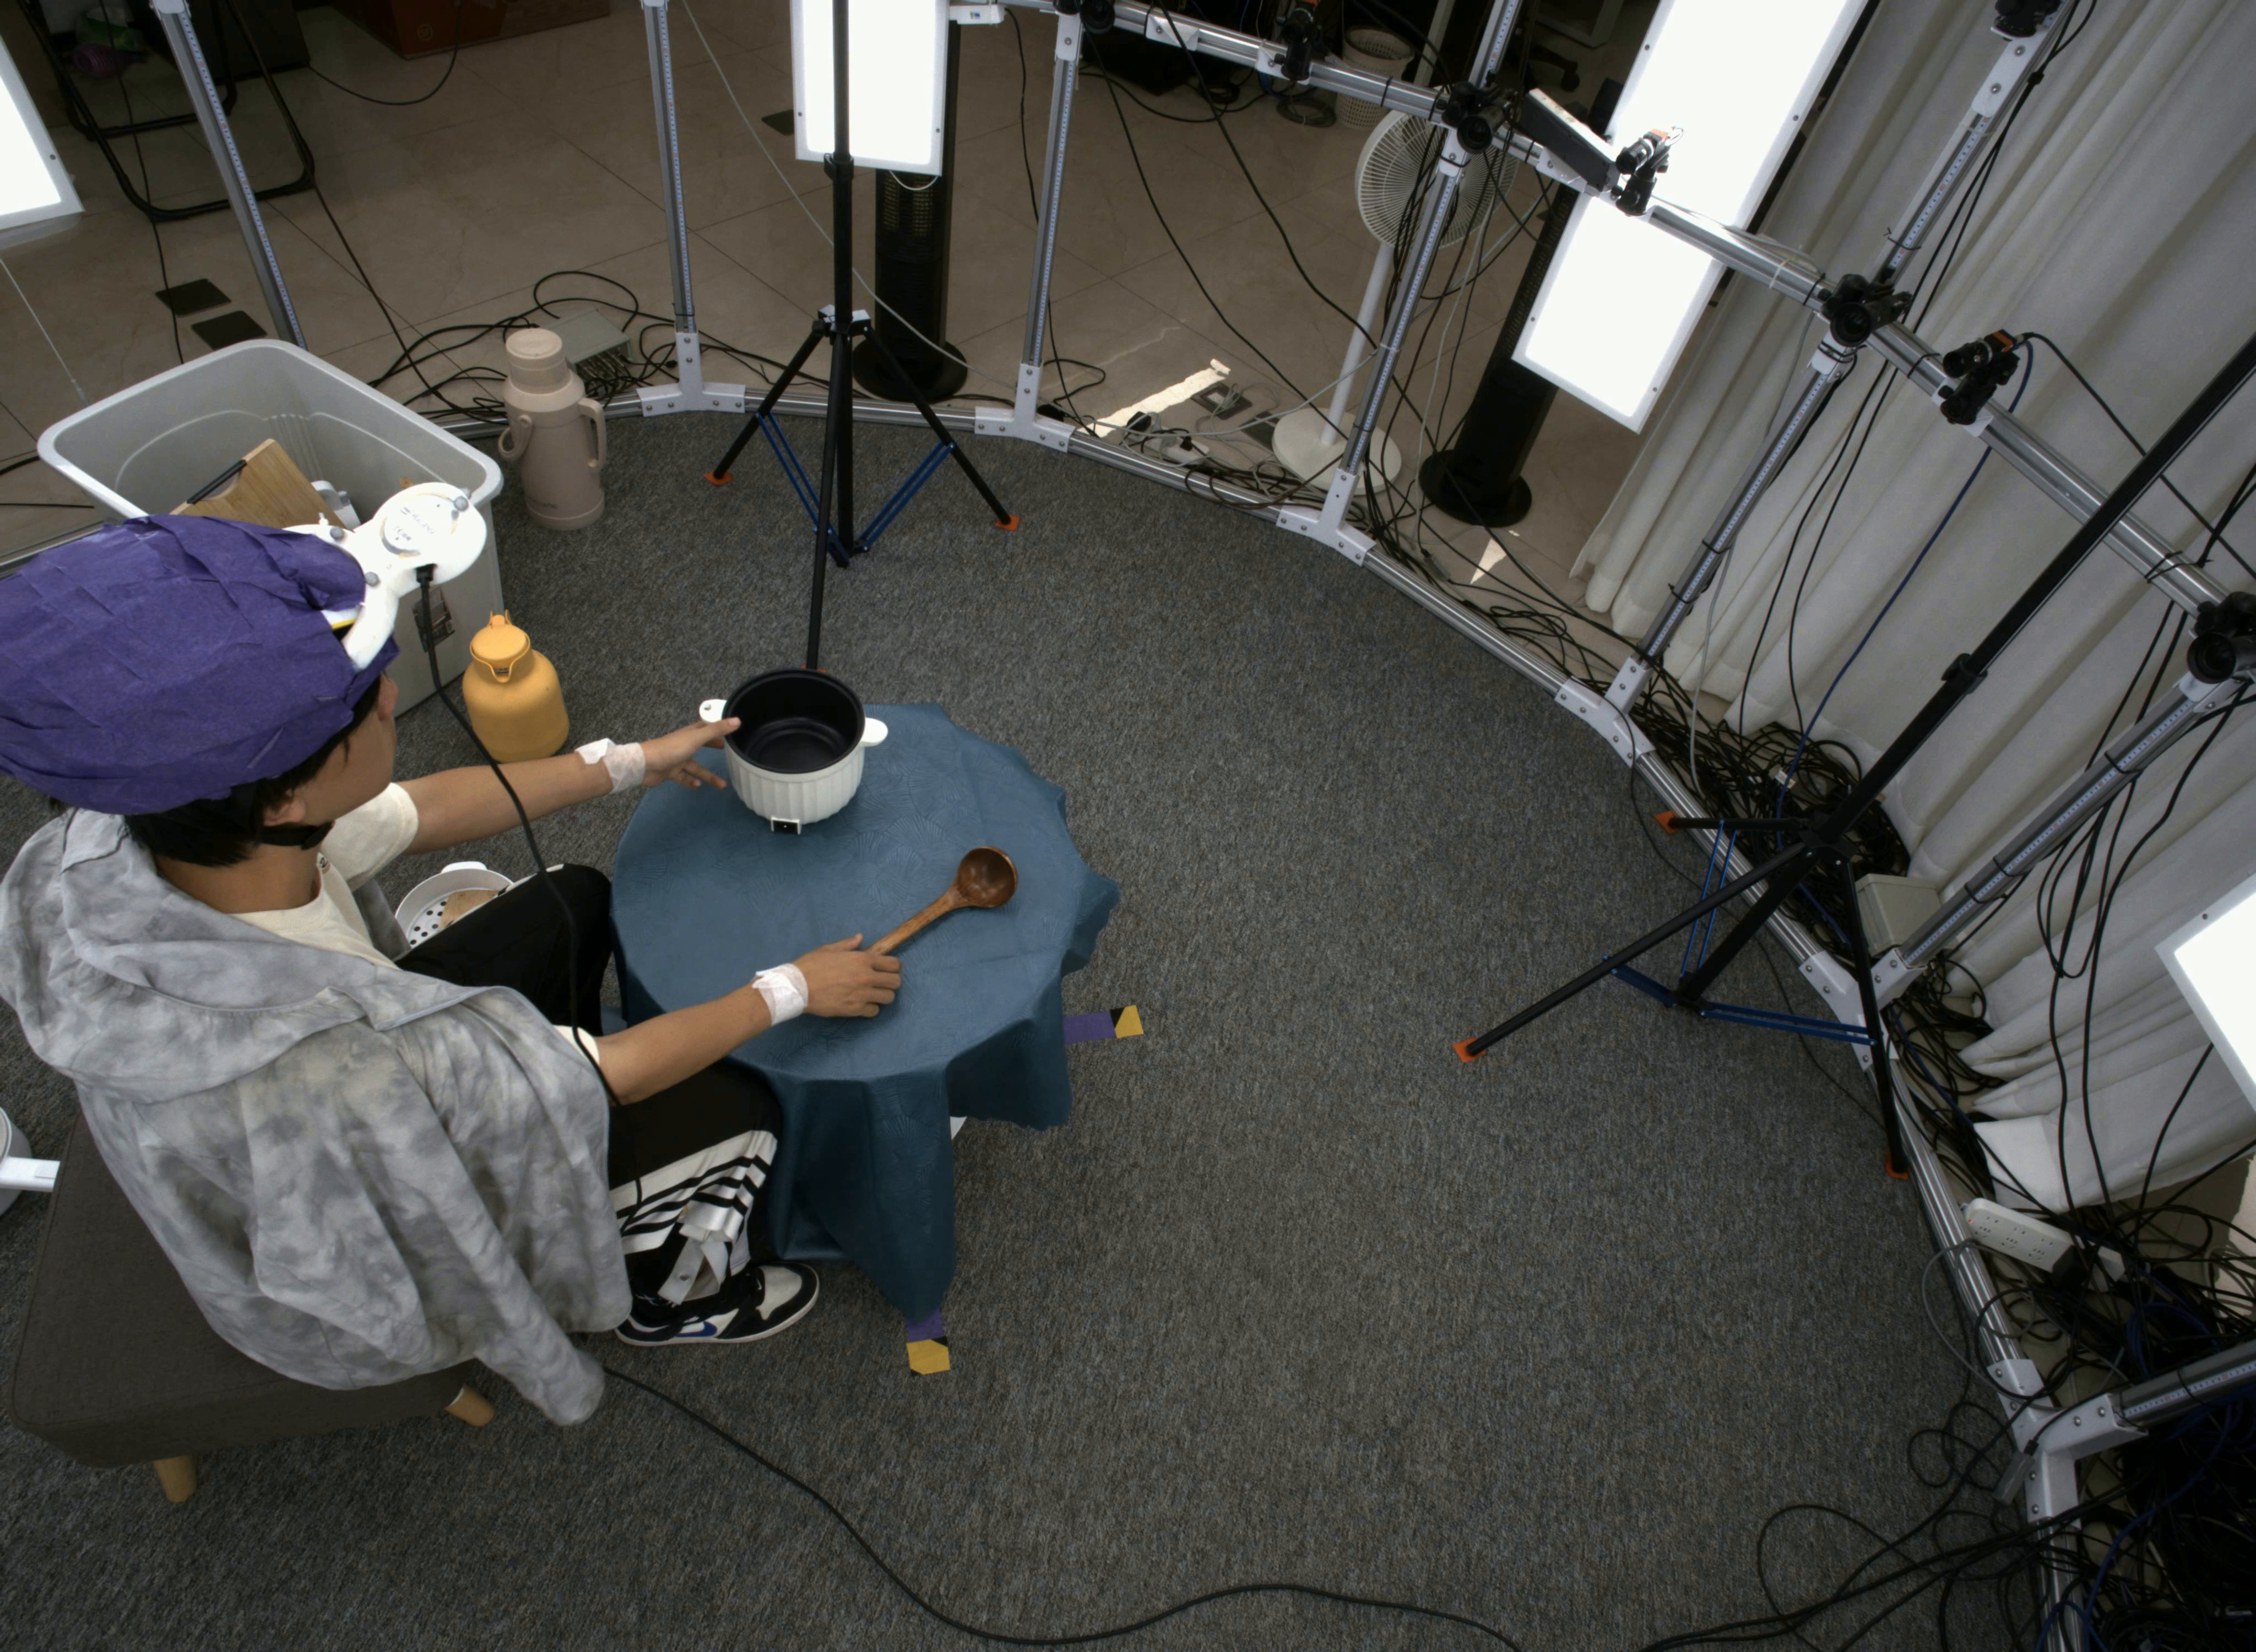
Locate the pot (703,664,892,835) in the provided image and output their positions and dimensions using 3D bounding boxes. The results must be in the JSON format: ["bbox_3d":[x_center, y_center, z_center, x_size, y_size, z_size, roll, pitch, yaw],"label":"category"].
[{"bbox_3d":[-0.433,-0.104,1.711,0.240,0.145,0.187,7,56,-9],"label":"pot"}]

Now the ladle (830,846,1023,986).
[{"bbox_3d":[-0.248,0.116,1.635,0.275,0.076,0.082,-34,91,-33],"label":"ladle"}]
